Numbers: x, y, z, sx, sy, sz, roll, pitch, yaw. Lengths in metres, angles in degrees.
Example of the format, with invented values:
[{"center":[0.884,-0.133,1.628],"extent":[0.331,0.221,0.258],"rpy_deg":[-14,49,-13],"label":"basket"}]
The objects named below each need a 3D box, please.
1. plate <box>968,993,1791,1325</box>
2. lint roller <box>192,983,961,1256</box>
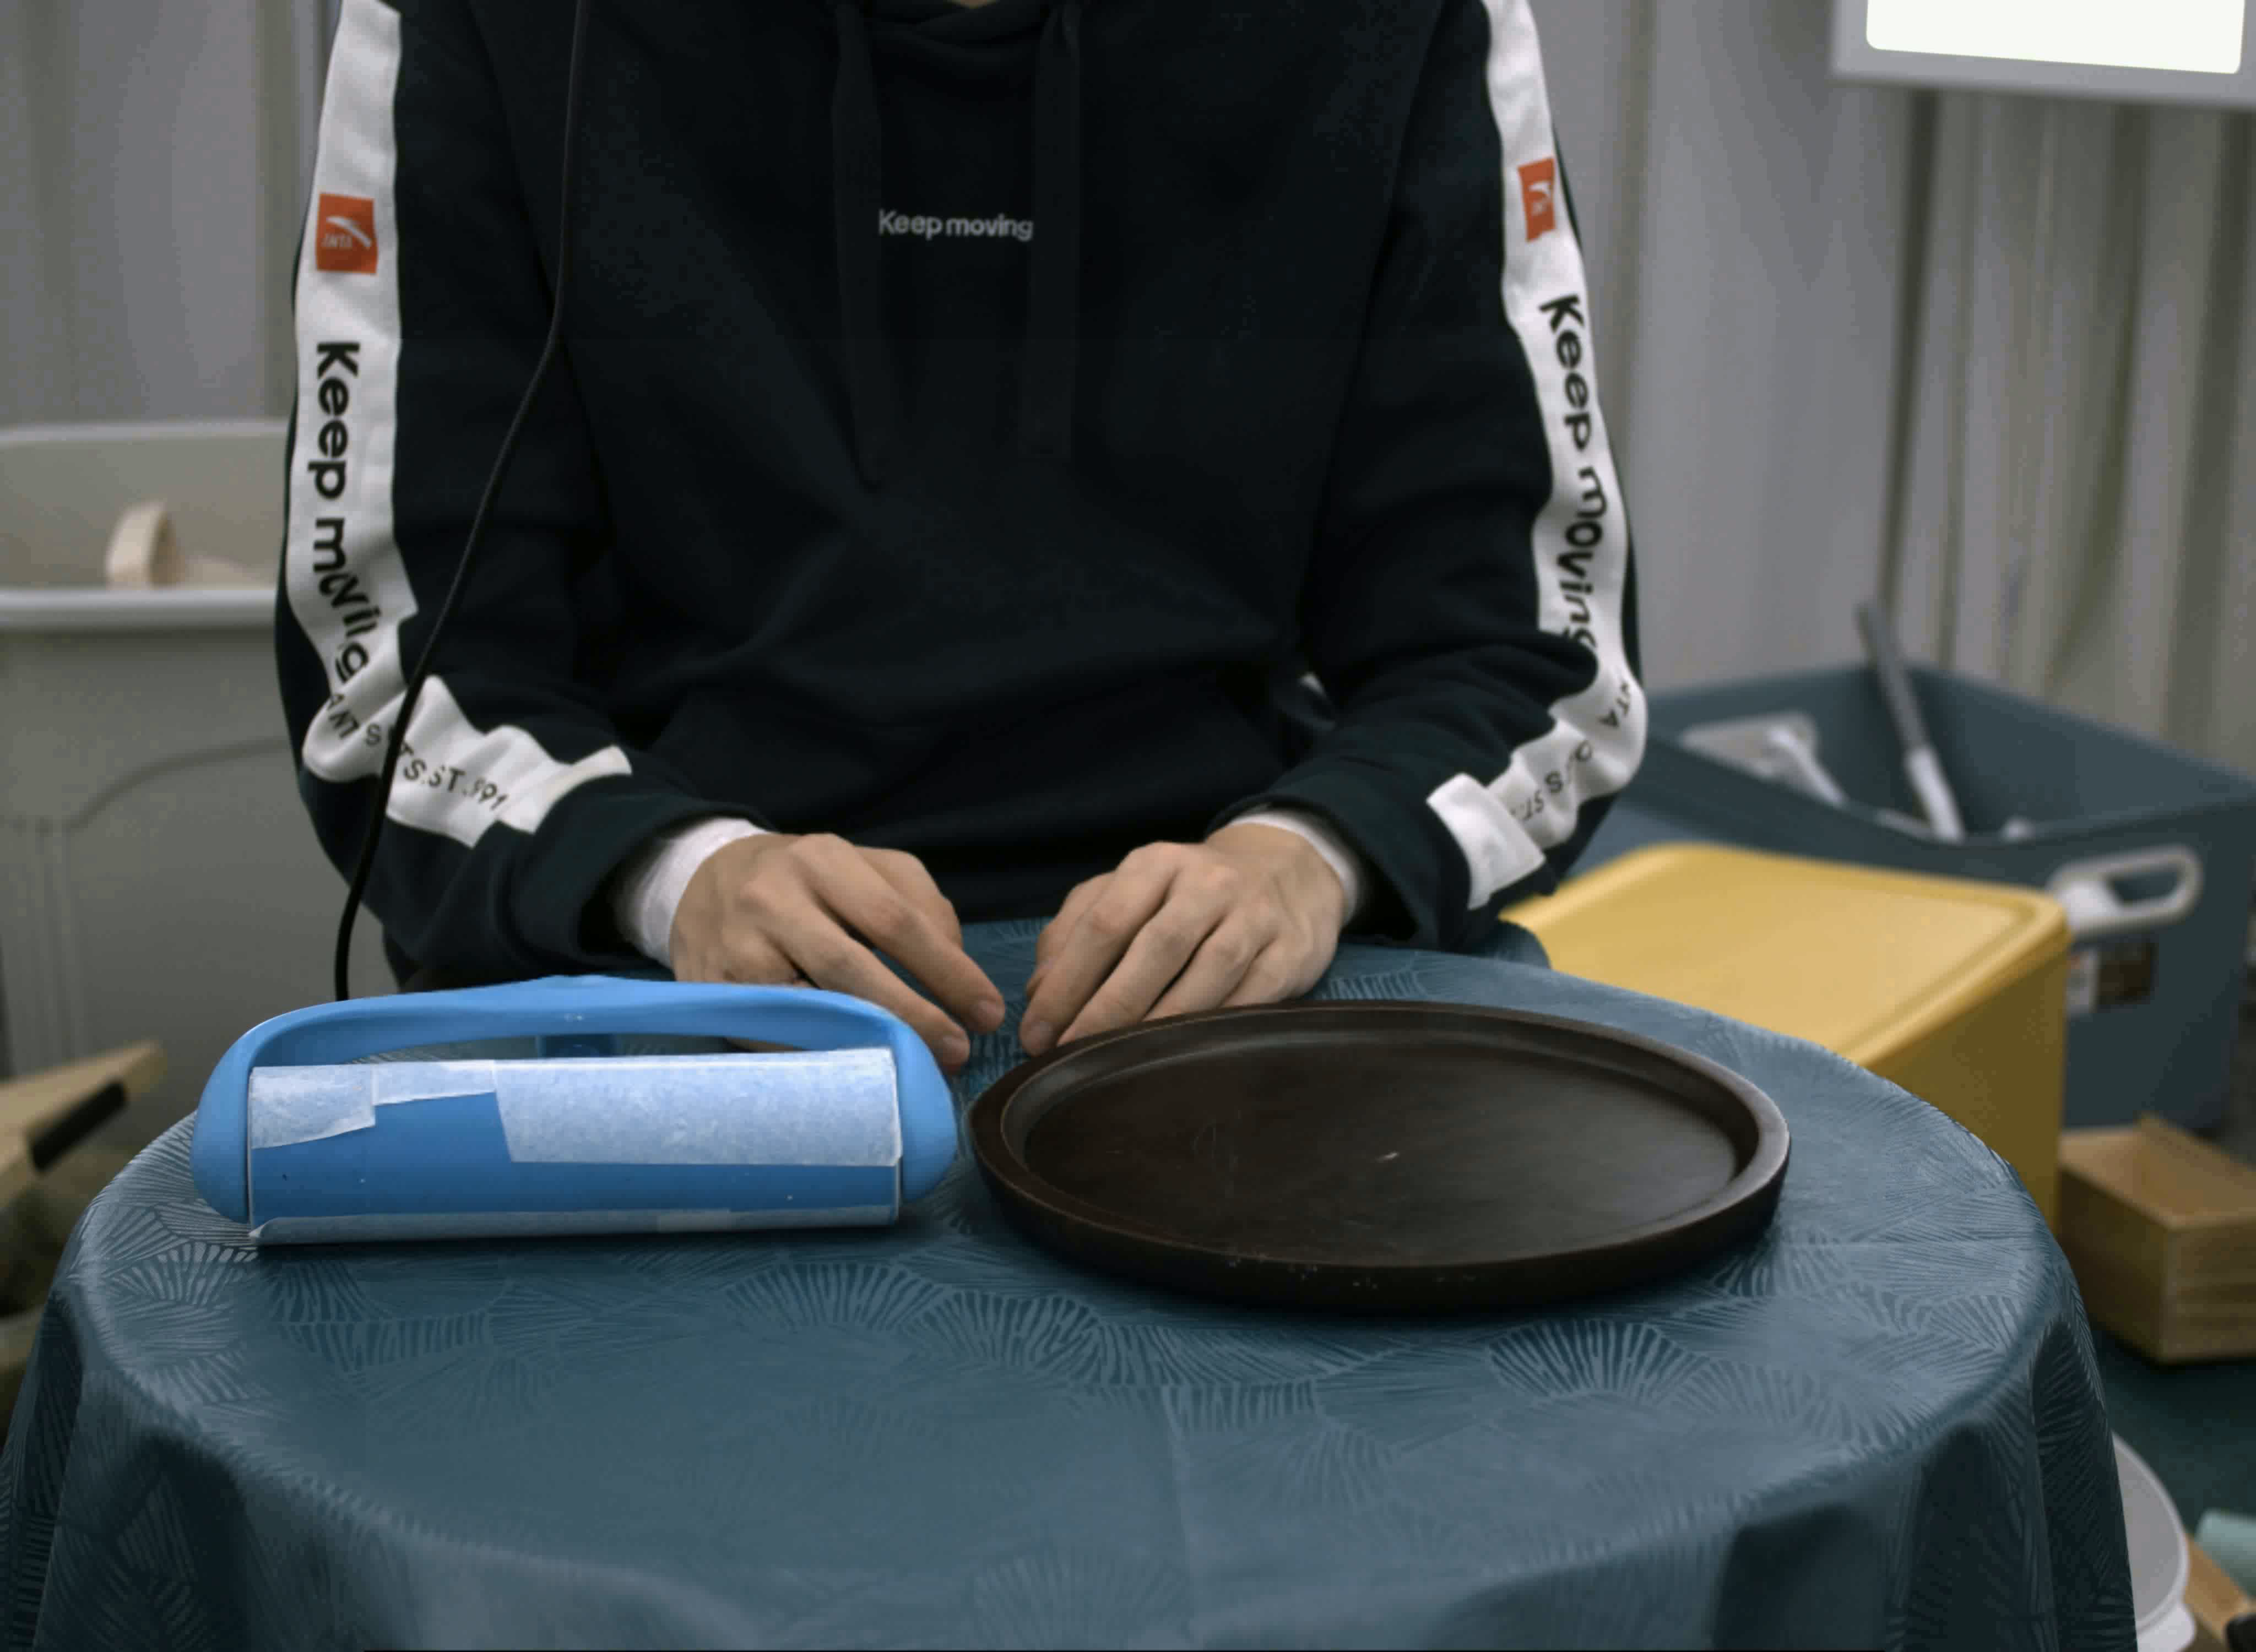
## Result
[{"center":[0.077,0.101,1.619],"extent":[0.254,0.029,0.253],"rpy_deg":[1,17,0],"label":"plate"},{"center":[-0.172,0.079,1.628],"extent":[0.229,0.068,0.179],"rpy_deg":[-4,18,-8],"label":"lint roller"}]
